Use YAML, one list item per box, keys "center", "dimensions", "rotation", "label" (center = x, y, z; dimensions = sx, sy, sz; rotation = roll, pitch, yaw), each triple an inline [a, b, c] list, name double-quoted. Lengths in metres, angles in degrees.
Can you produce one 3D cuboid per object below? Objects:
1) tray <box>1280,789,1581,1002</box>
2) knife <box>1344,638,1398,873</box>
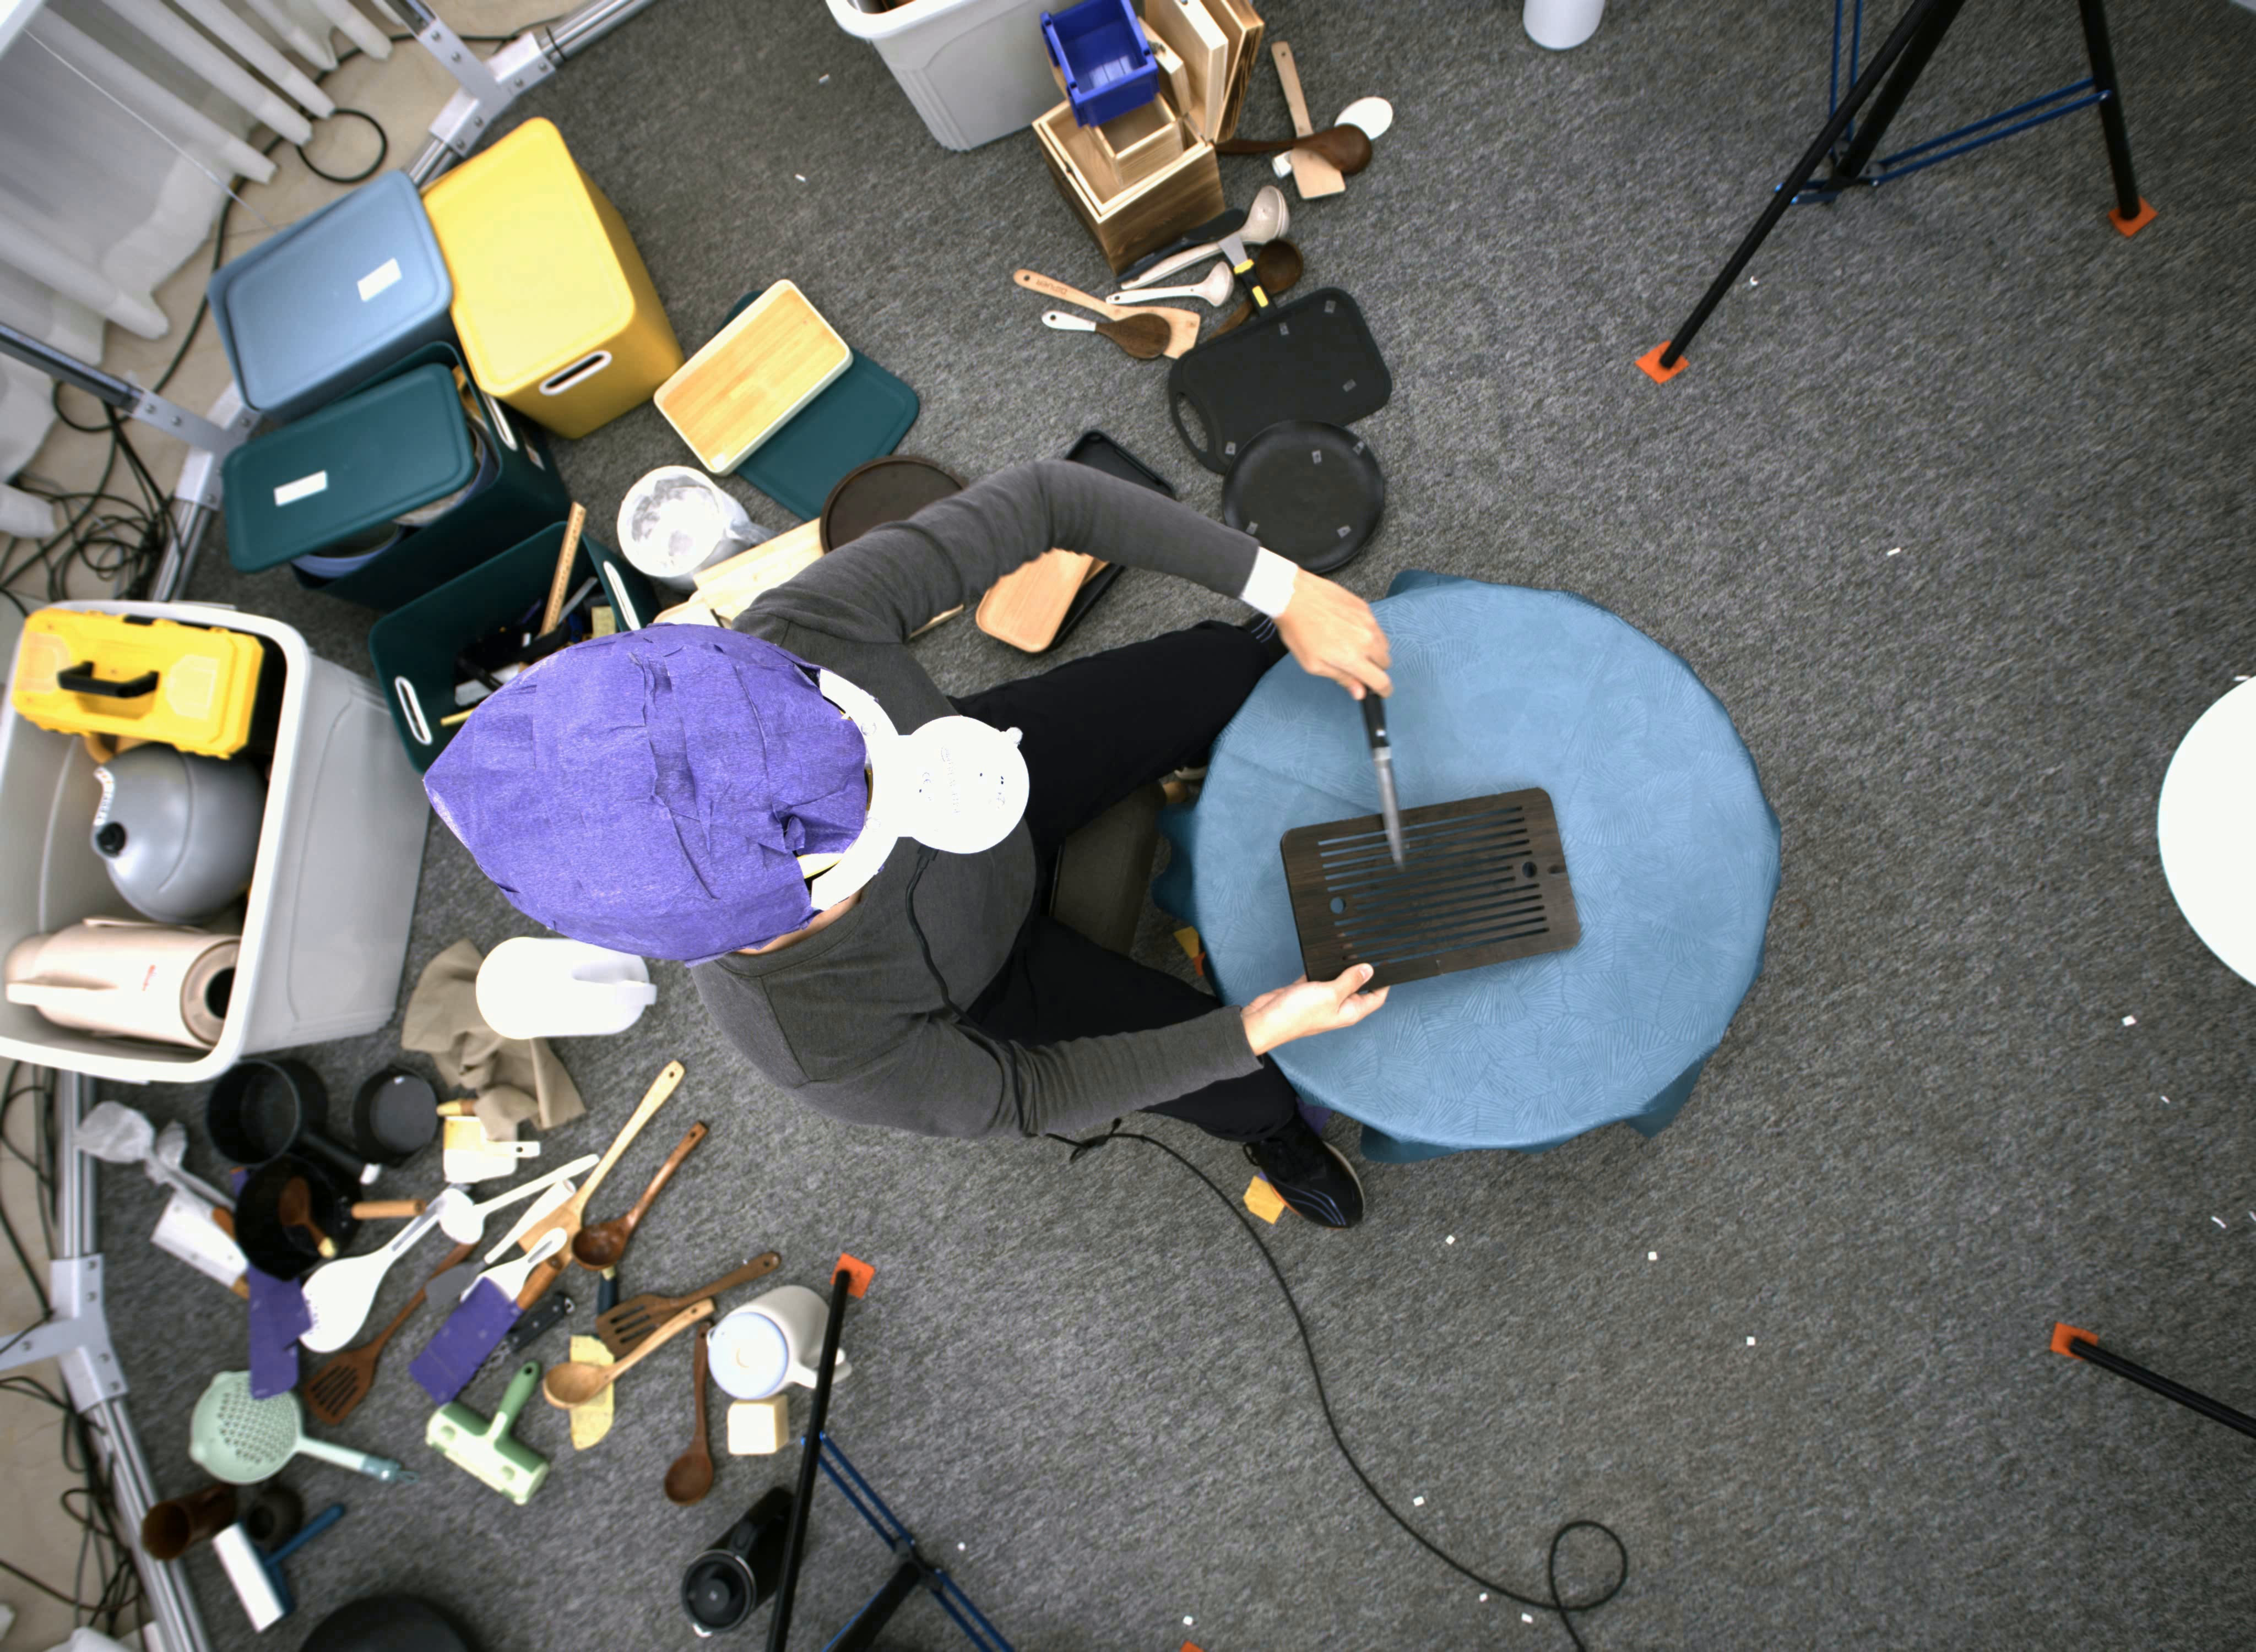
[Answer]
- center: [0.307, 0.065, 1.387]
  dimensions: [0.304, 0.019, 0.169]
  rotation: [-10, 86, -14]
  label: "tray"
- center: [0.244, -0.071, 1.370]
  dimensions: [0.024, 0.016, 0.238]
  rotation: [-11, 91, -32]
  label: "knife"
